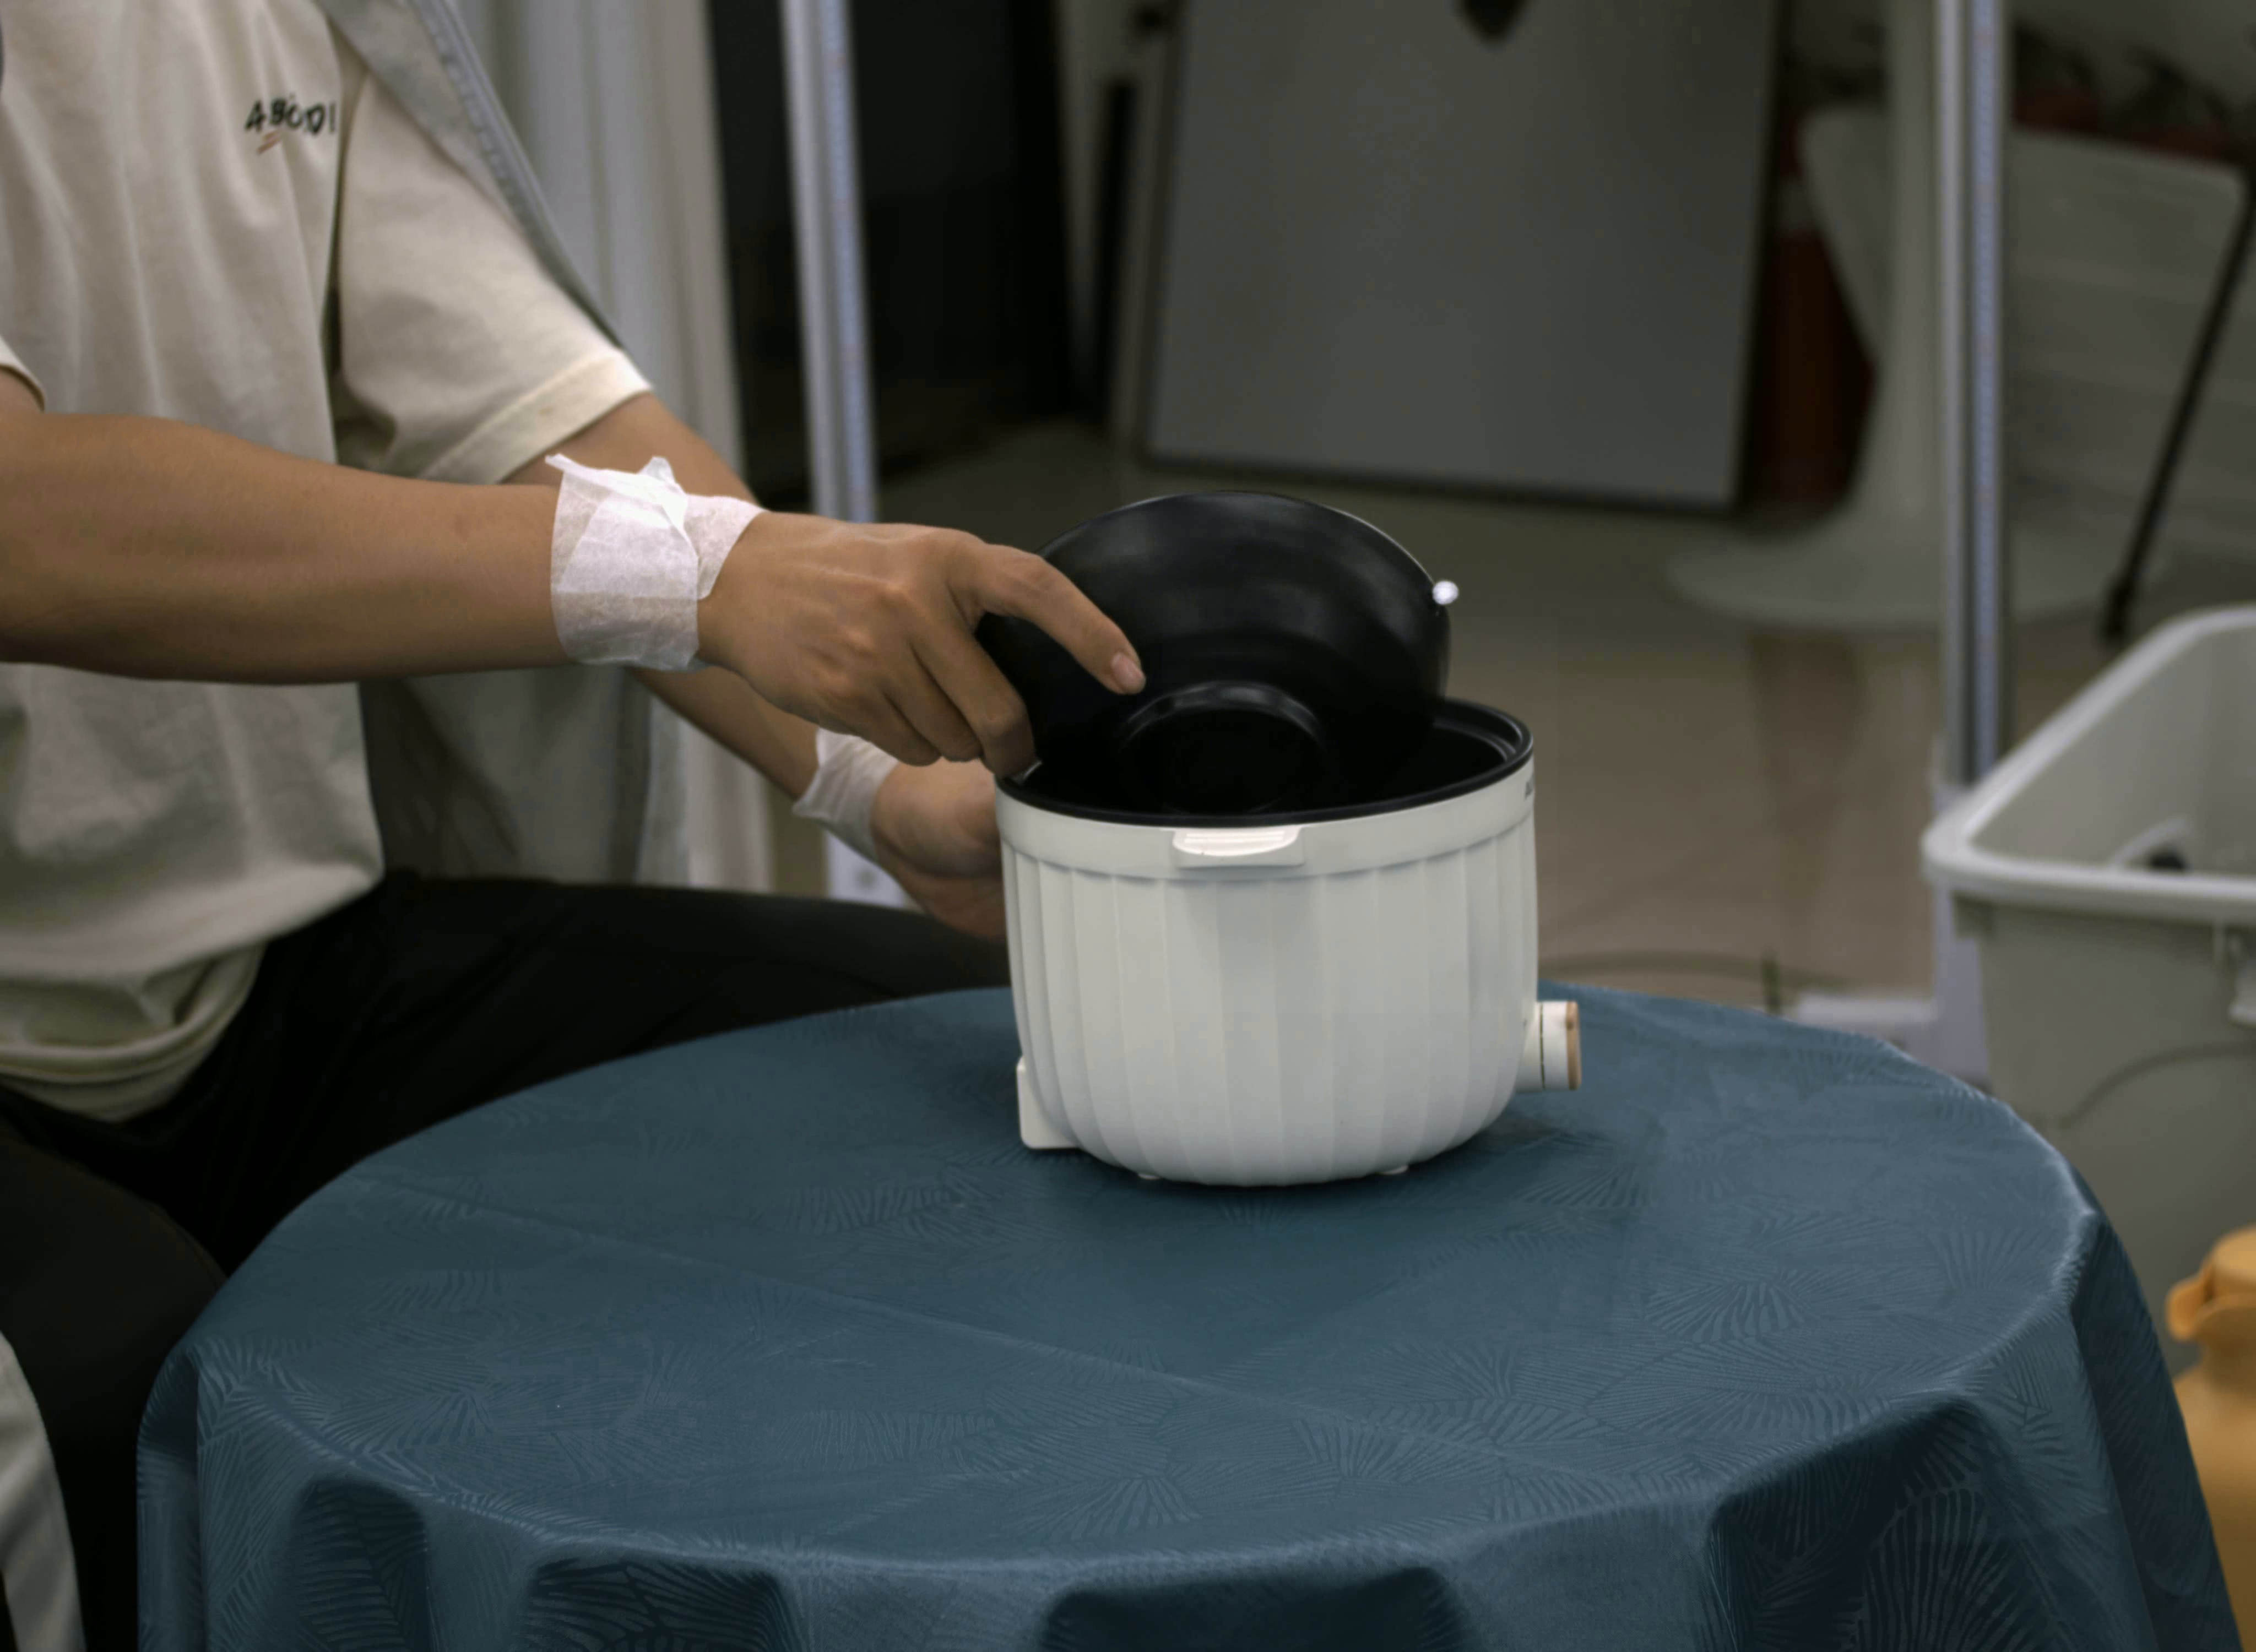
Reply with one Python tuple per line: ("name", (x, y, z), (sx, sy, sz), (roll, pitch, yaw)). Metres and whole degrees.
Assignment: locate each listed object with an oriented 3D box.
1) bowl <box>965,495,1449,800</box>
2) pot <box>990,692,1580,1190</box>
("bowl", (0.030, -0.041, 1.772), (0.167, 0.139, 0.067), (16, 47, -24))
("pot", (0.054, 0.038, 1.805), (0.189, 0.144, 0.240), (-5, 14, 8))
